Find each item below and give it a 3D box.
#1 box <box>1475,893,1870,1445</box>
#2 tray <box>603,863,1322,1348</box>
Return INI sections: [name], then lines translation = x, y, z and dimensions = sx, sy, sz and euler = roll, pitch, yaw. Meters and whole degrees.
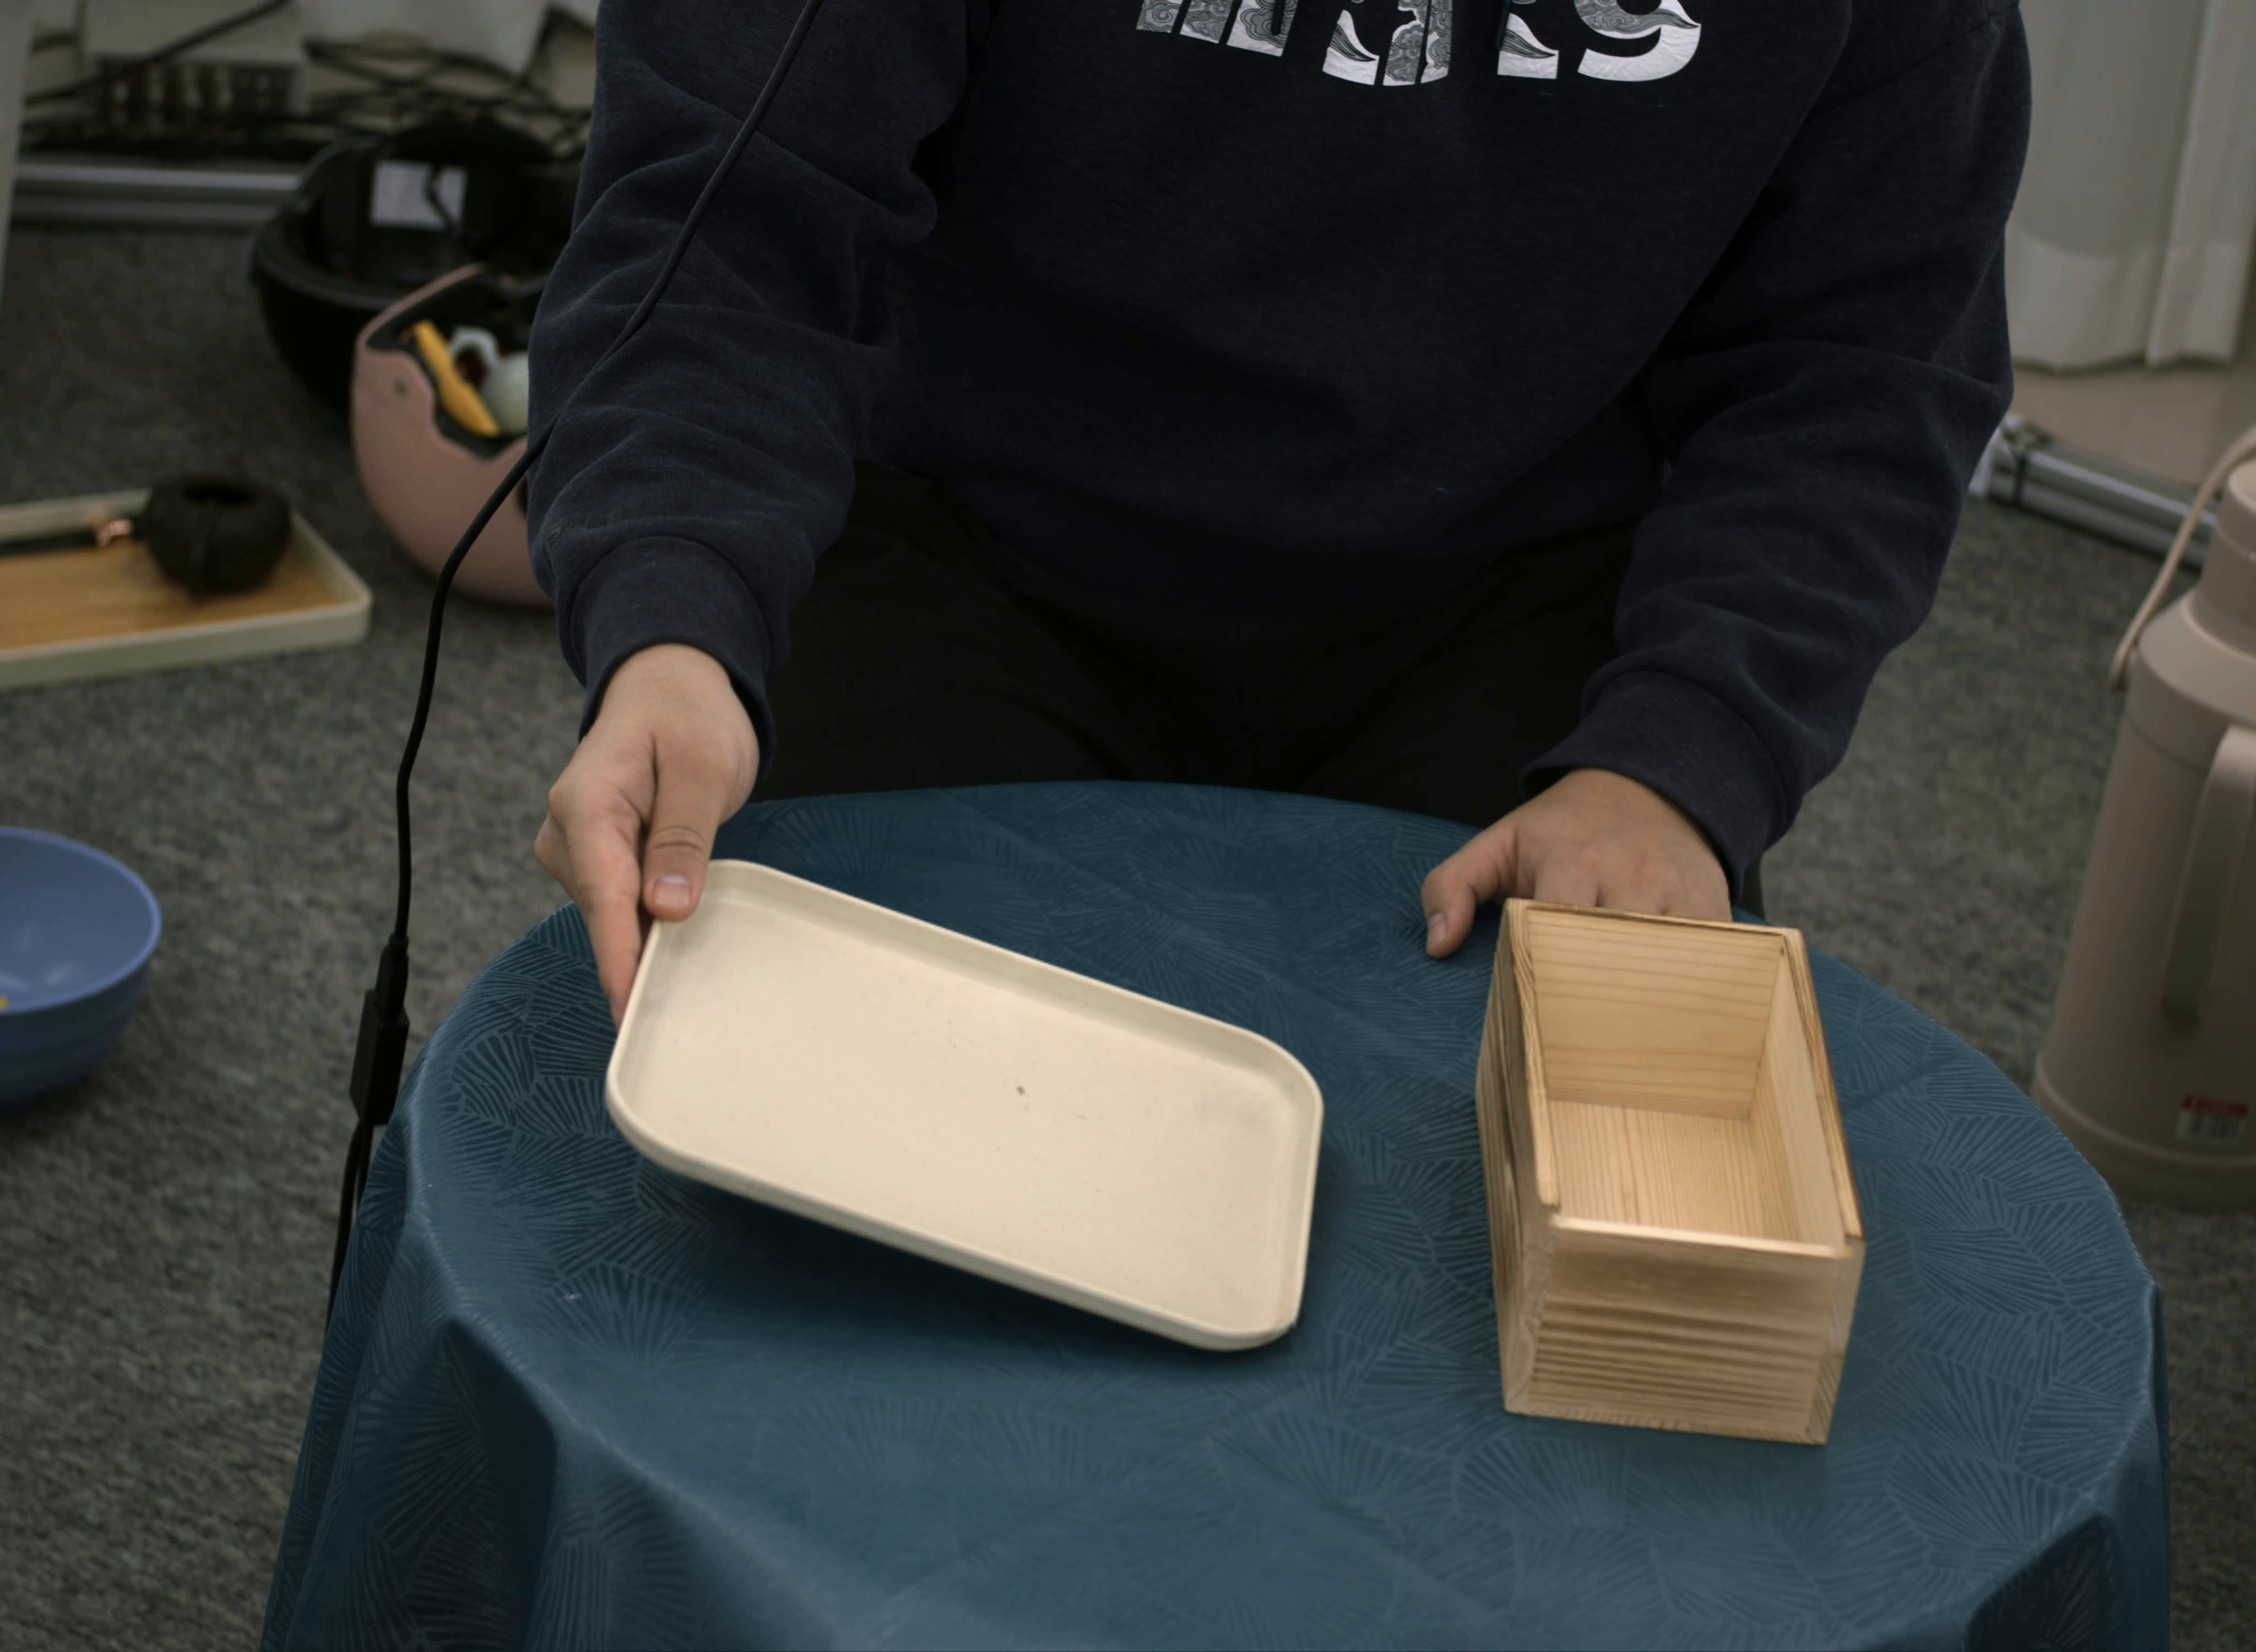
[box]
translation = 0.179, 0.112, 1.784
dimensions = 0.107, 0.080, 0.212
euler = 6, 27, -3
[tray]
translation = -0.053, 0.094, 1.771
dimensions = 0.239, 0.017, 0.172
euler = 18, 33, -4
